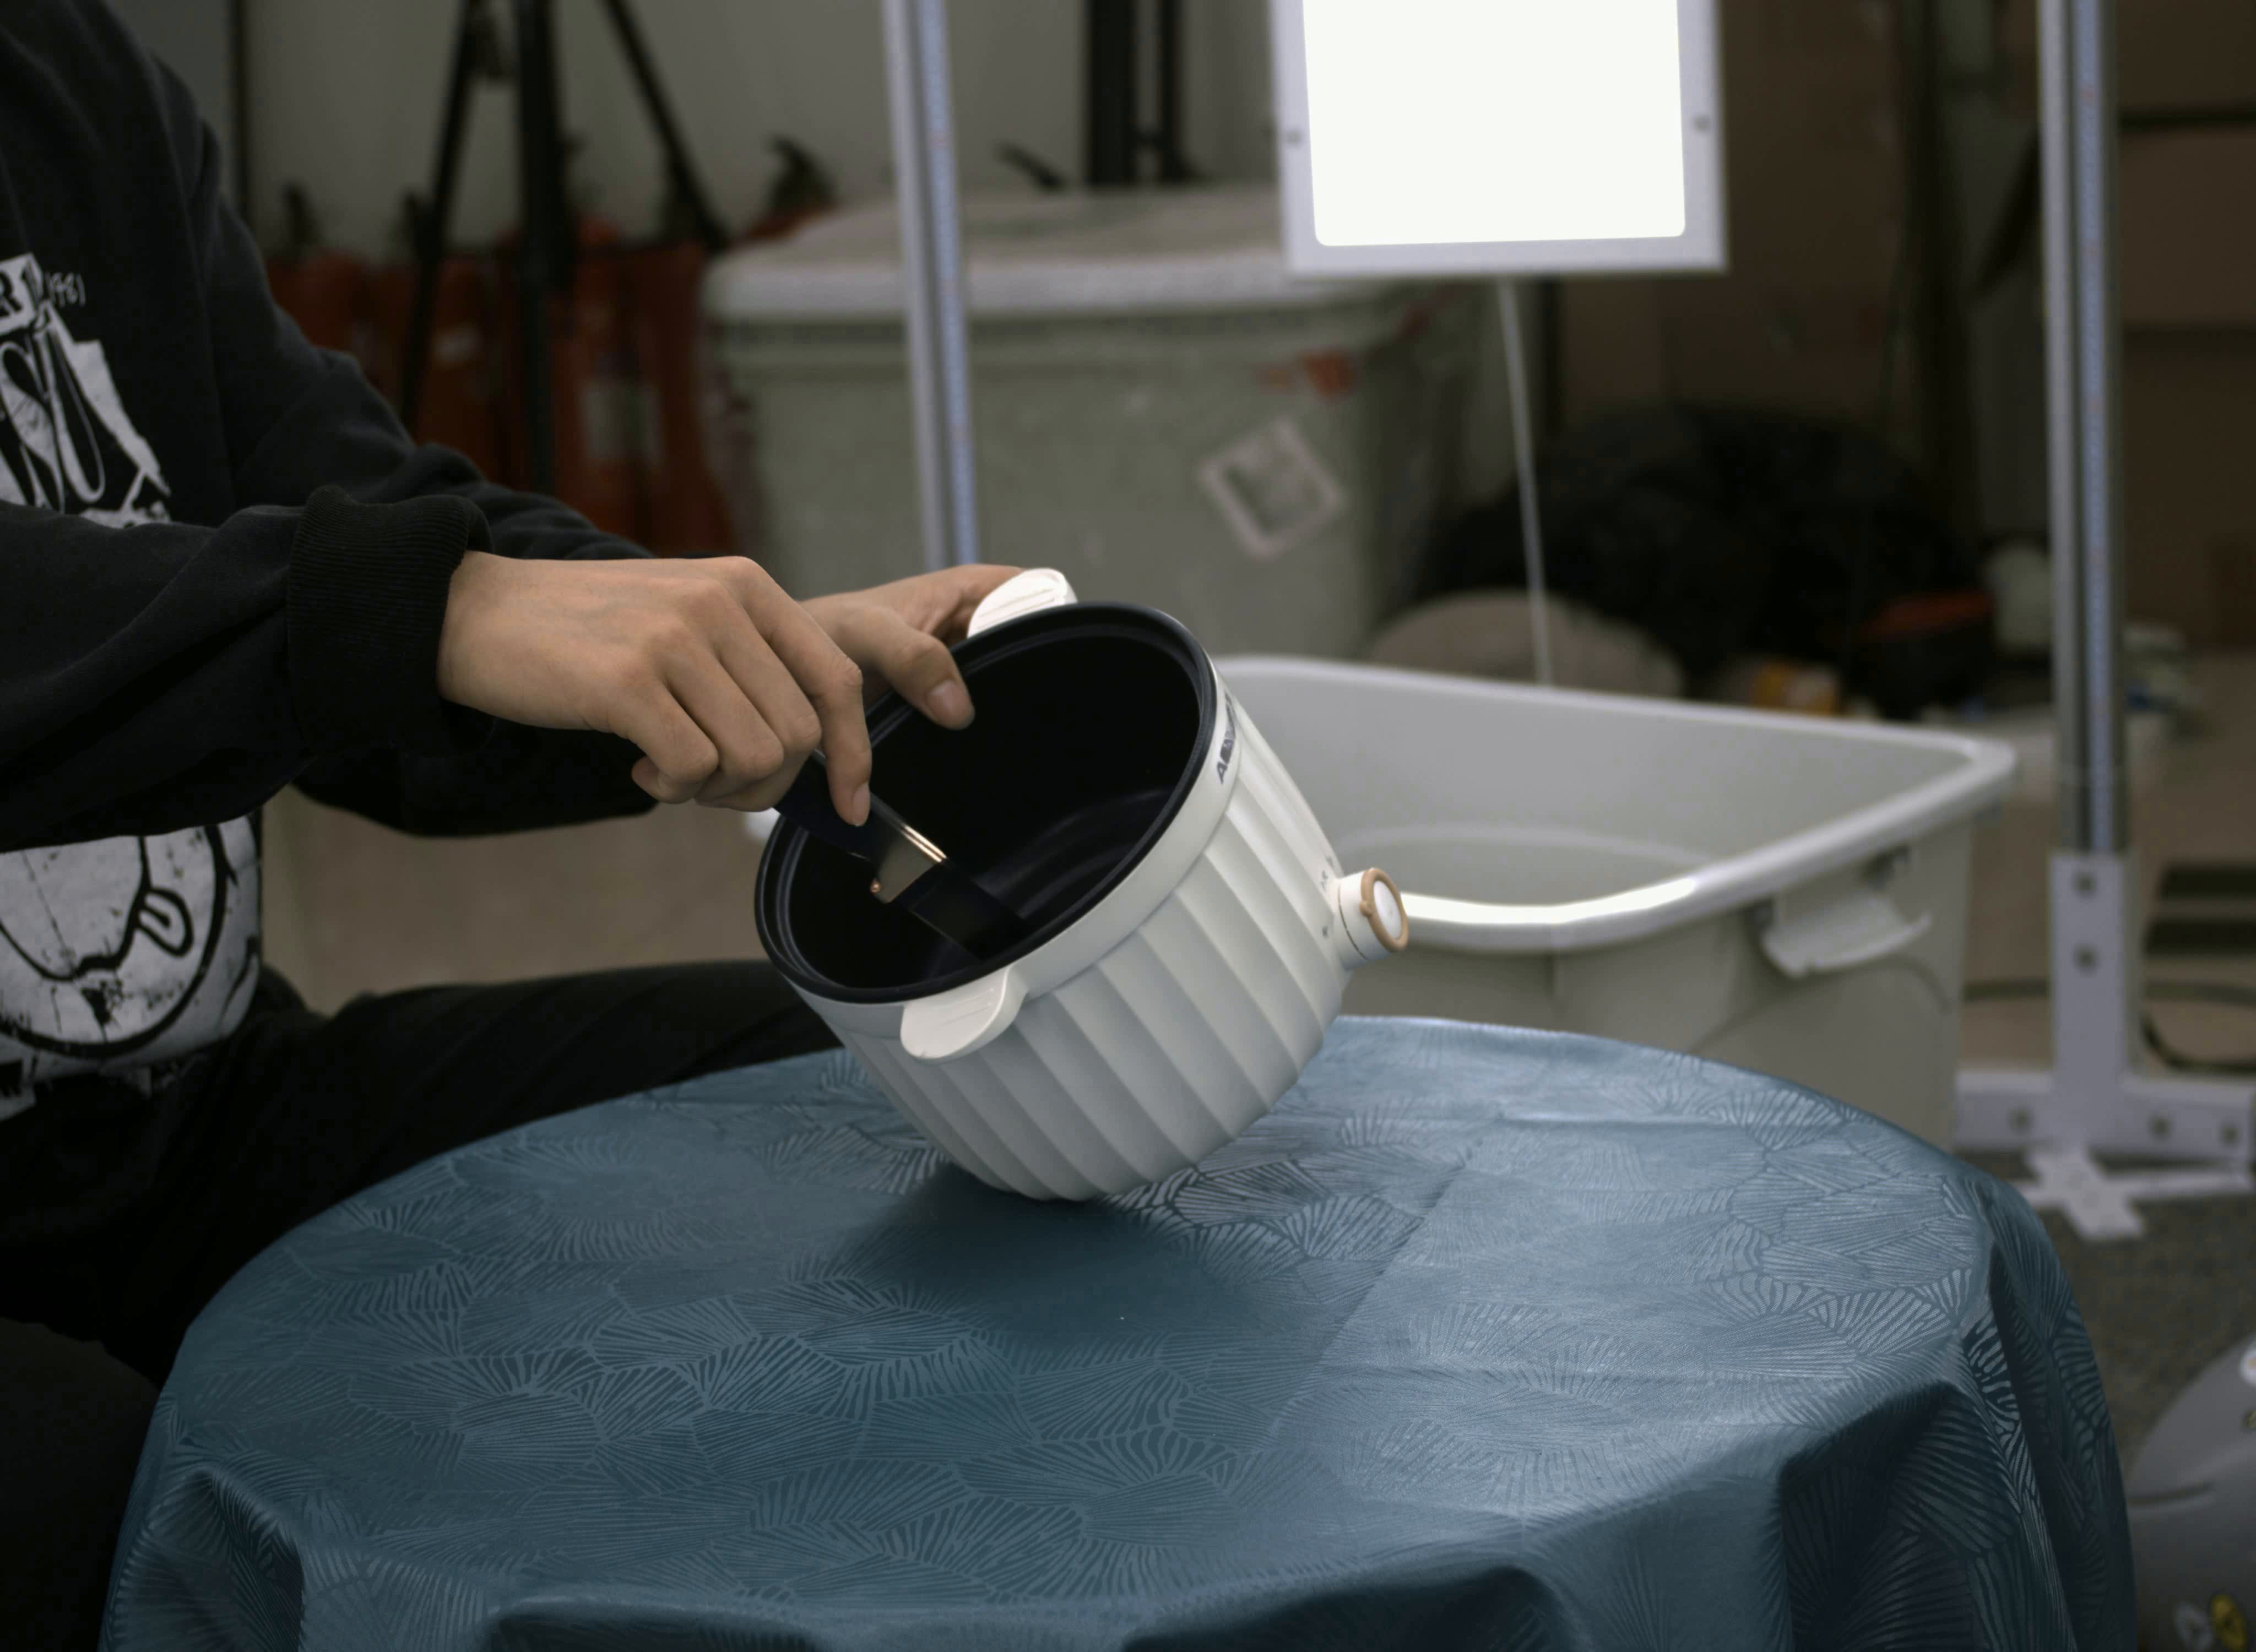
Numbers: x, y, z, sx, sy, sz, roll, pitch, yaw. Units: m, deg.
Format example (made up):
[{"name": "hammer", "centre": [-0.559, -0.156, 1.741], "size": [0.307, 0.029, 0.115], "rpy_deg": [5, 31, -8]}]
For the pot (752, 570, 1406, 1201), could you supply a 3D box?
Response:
[{"name": "pot", "centre": [-0.013, 0.030, 1.897], "size": [0.194, 0.141, 0.239], "rpy_deg": [-23, 37, 26]}]

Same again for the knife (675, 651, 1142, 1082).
[{"name": "knife", "centre": [-0.066, 0.015, 1.780], "size": [0.026, 0.222, 0.017], "rpy_deg": [-55, 29, -11]}]
